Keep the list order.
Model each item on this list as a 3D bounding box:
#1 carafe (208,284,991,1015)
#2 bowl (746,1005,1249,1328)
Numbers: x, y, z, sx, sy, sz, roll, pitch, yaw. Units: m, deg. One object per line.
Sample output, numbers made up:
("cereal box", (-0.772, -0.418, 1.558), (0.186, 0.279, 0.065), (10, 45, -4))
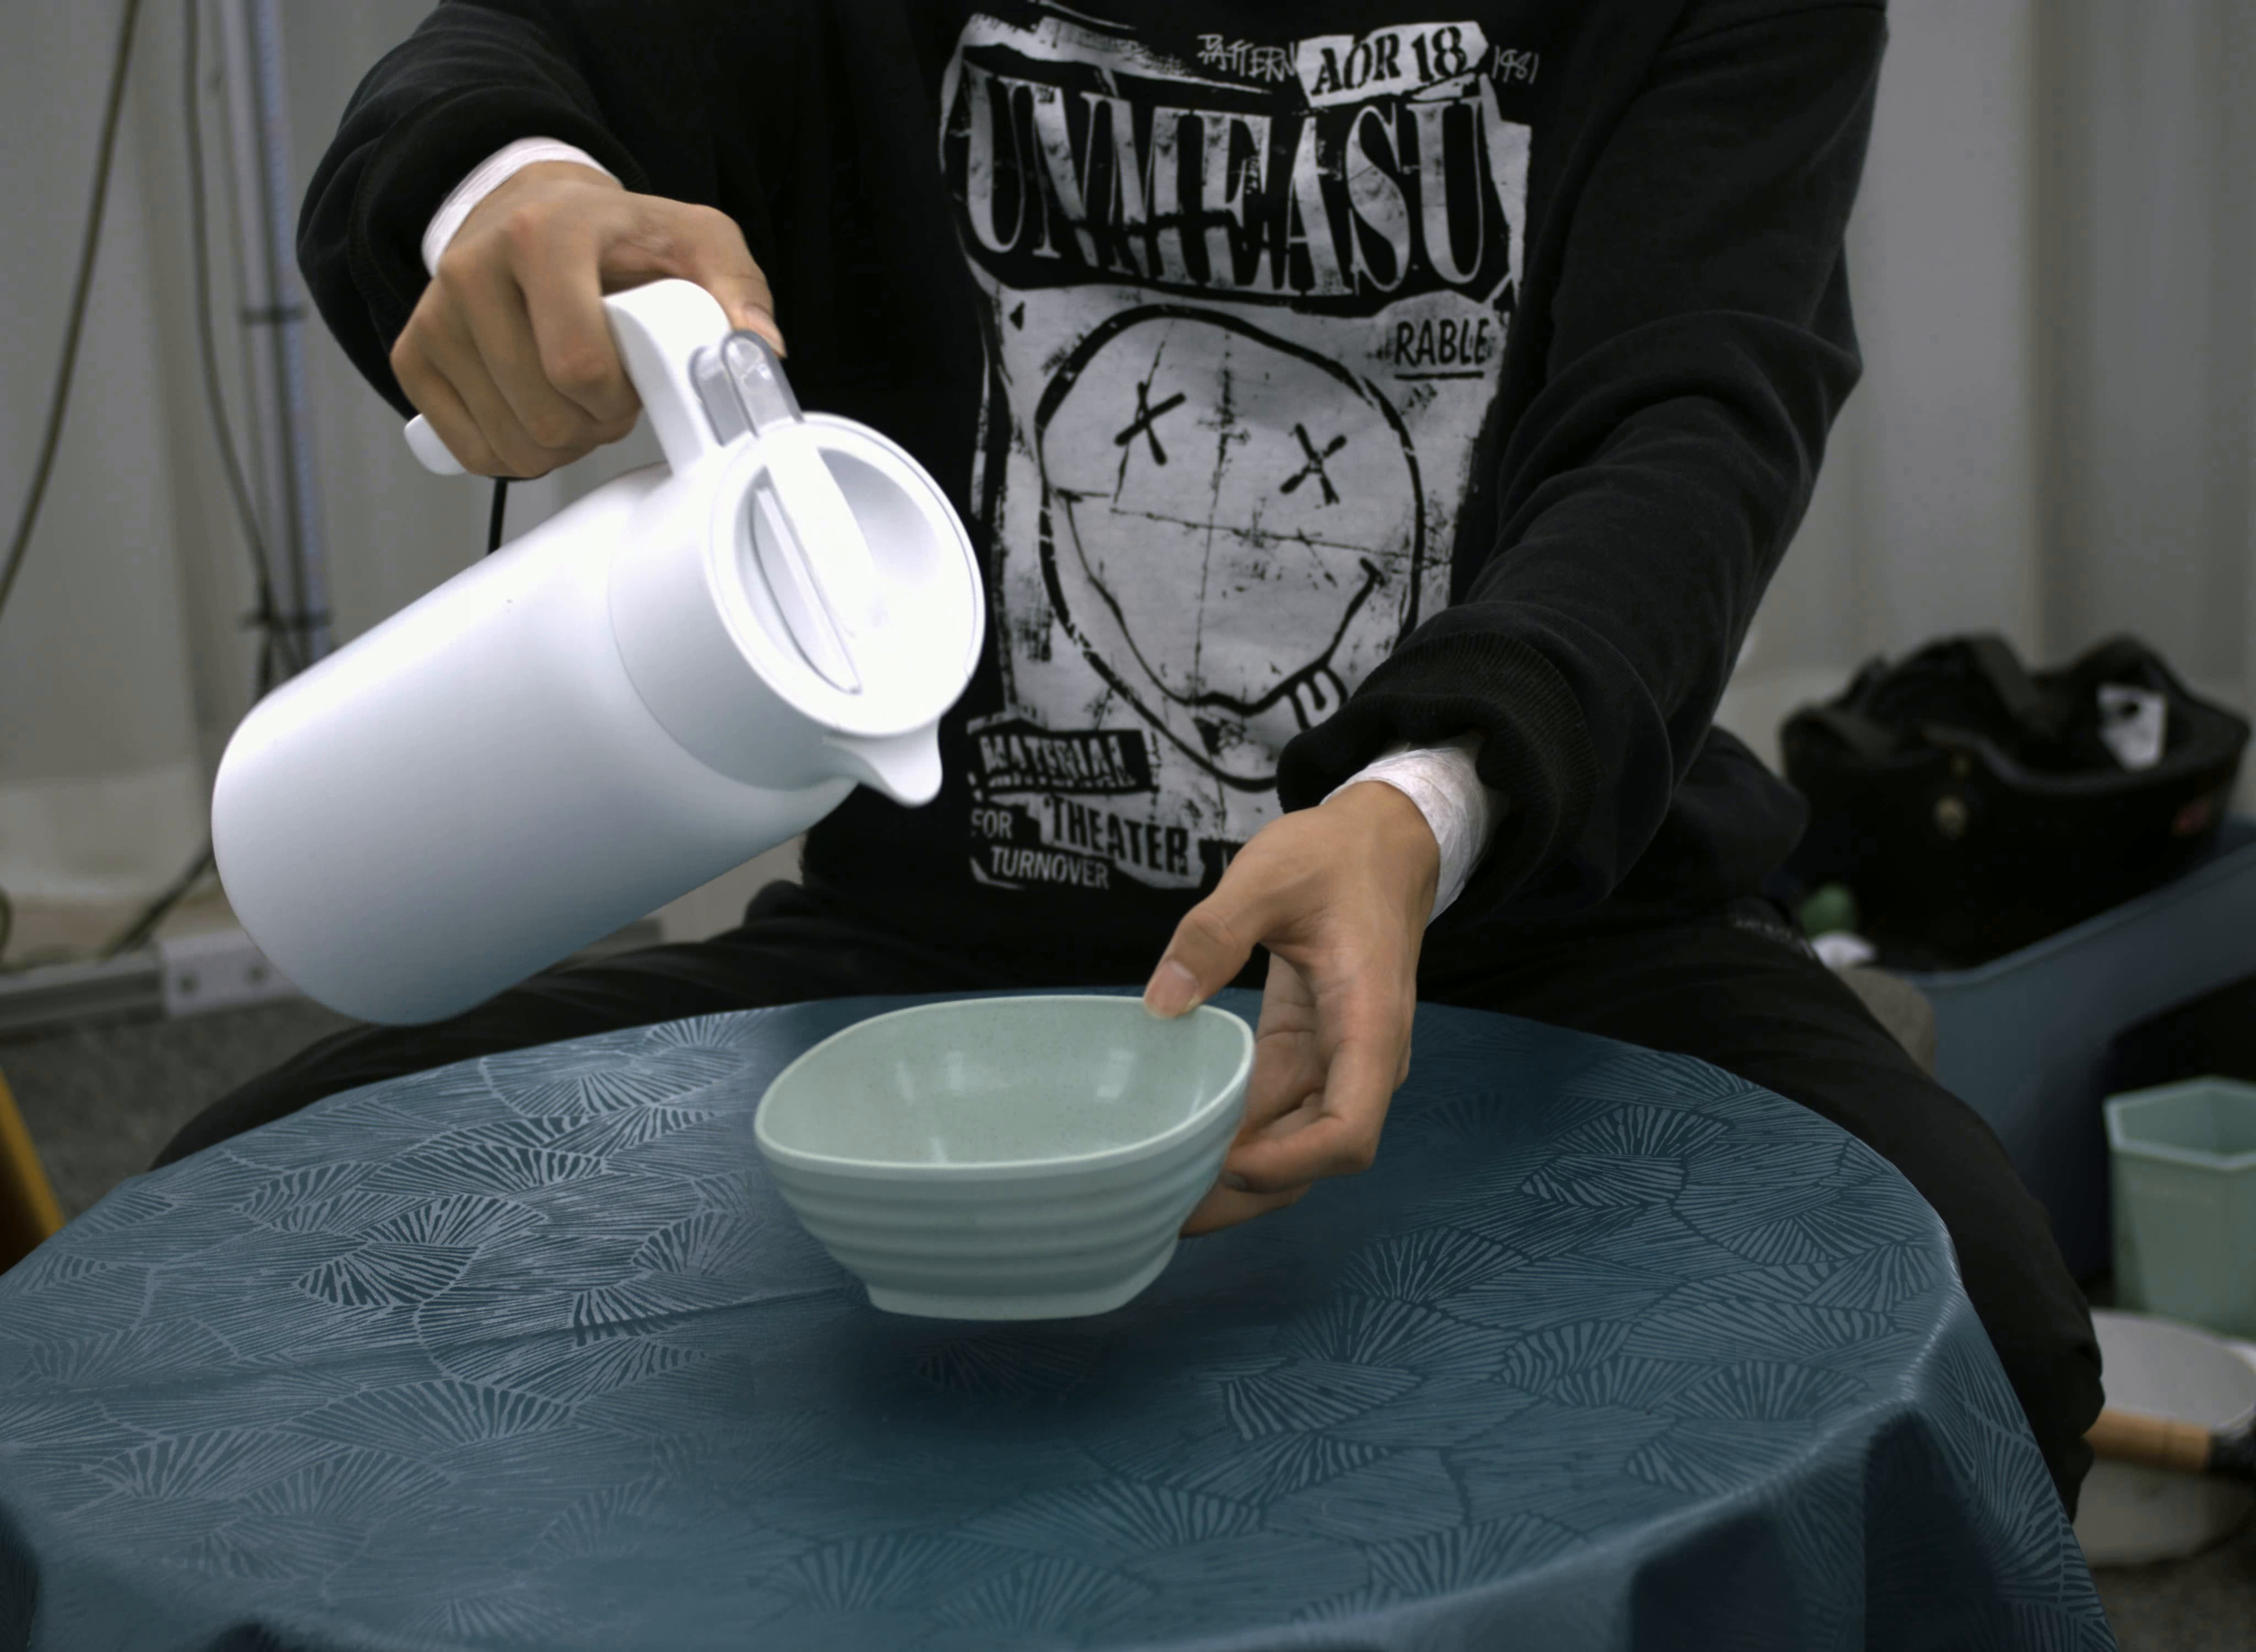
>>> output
("carafe", (-0.168, -0.047, 1.635), (0.124, 0.173, 0.268), (-24, -1, -42))
("bowl", (-0.034, 0.101, 1.557), (0.151, 0.058, 0.152), (-5, 16, 1))
